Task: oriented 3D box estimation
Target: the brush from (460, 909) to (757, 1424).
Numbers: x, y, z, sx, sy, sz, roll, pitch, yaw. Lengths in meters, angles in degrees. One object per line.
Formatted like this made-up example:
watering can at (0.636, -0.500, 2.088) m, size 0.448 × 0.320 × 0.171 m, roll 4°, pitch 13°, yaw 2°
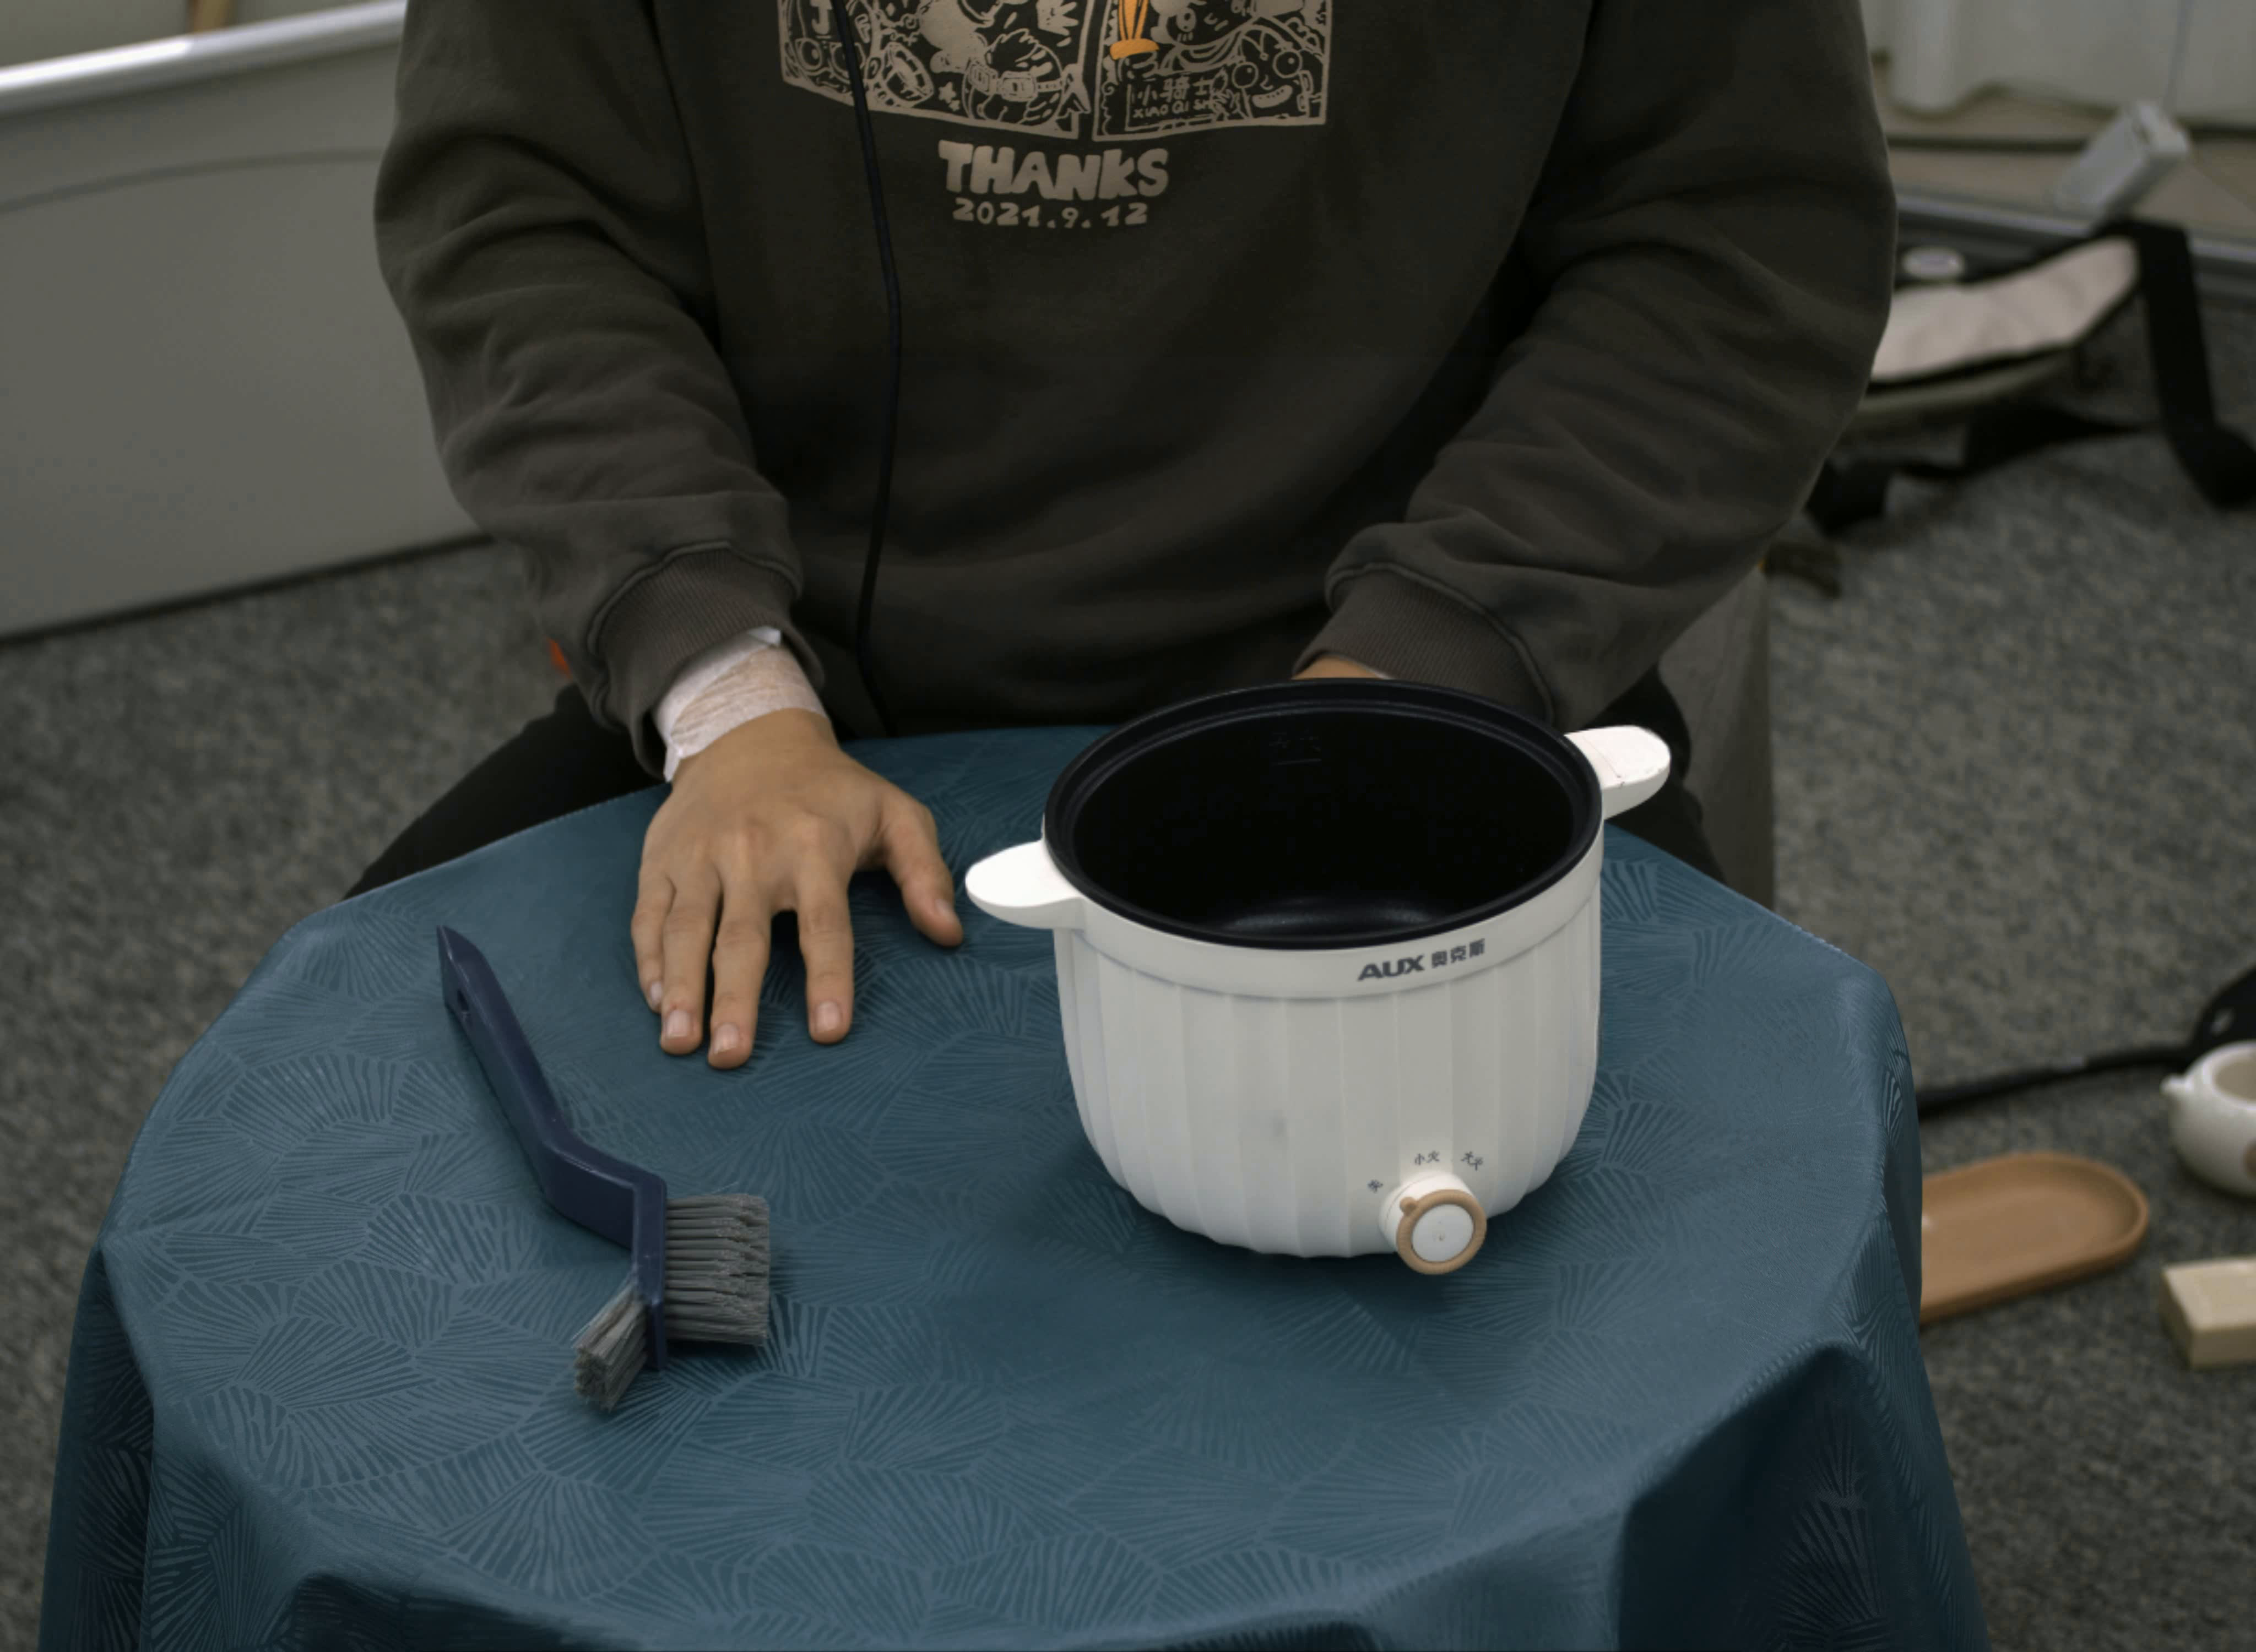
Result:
brush at (-0.198, 0.108, 1.872) m, size 0.096 × 0.033 × 0.275 m, roll -16°, pitch 32°, yaw -23°

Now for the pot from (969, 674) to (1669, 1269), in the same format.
pot at (0.070, 0.052, 1.837) m, size 0.241 × 0.141 × 0.192 m, roll -13°, pitch 25°, yaw -15°
